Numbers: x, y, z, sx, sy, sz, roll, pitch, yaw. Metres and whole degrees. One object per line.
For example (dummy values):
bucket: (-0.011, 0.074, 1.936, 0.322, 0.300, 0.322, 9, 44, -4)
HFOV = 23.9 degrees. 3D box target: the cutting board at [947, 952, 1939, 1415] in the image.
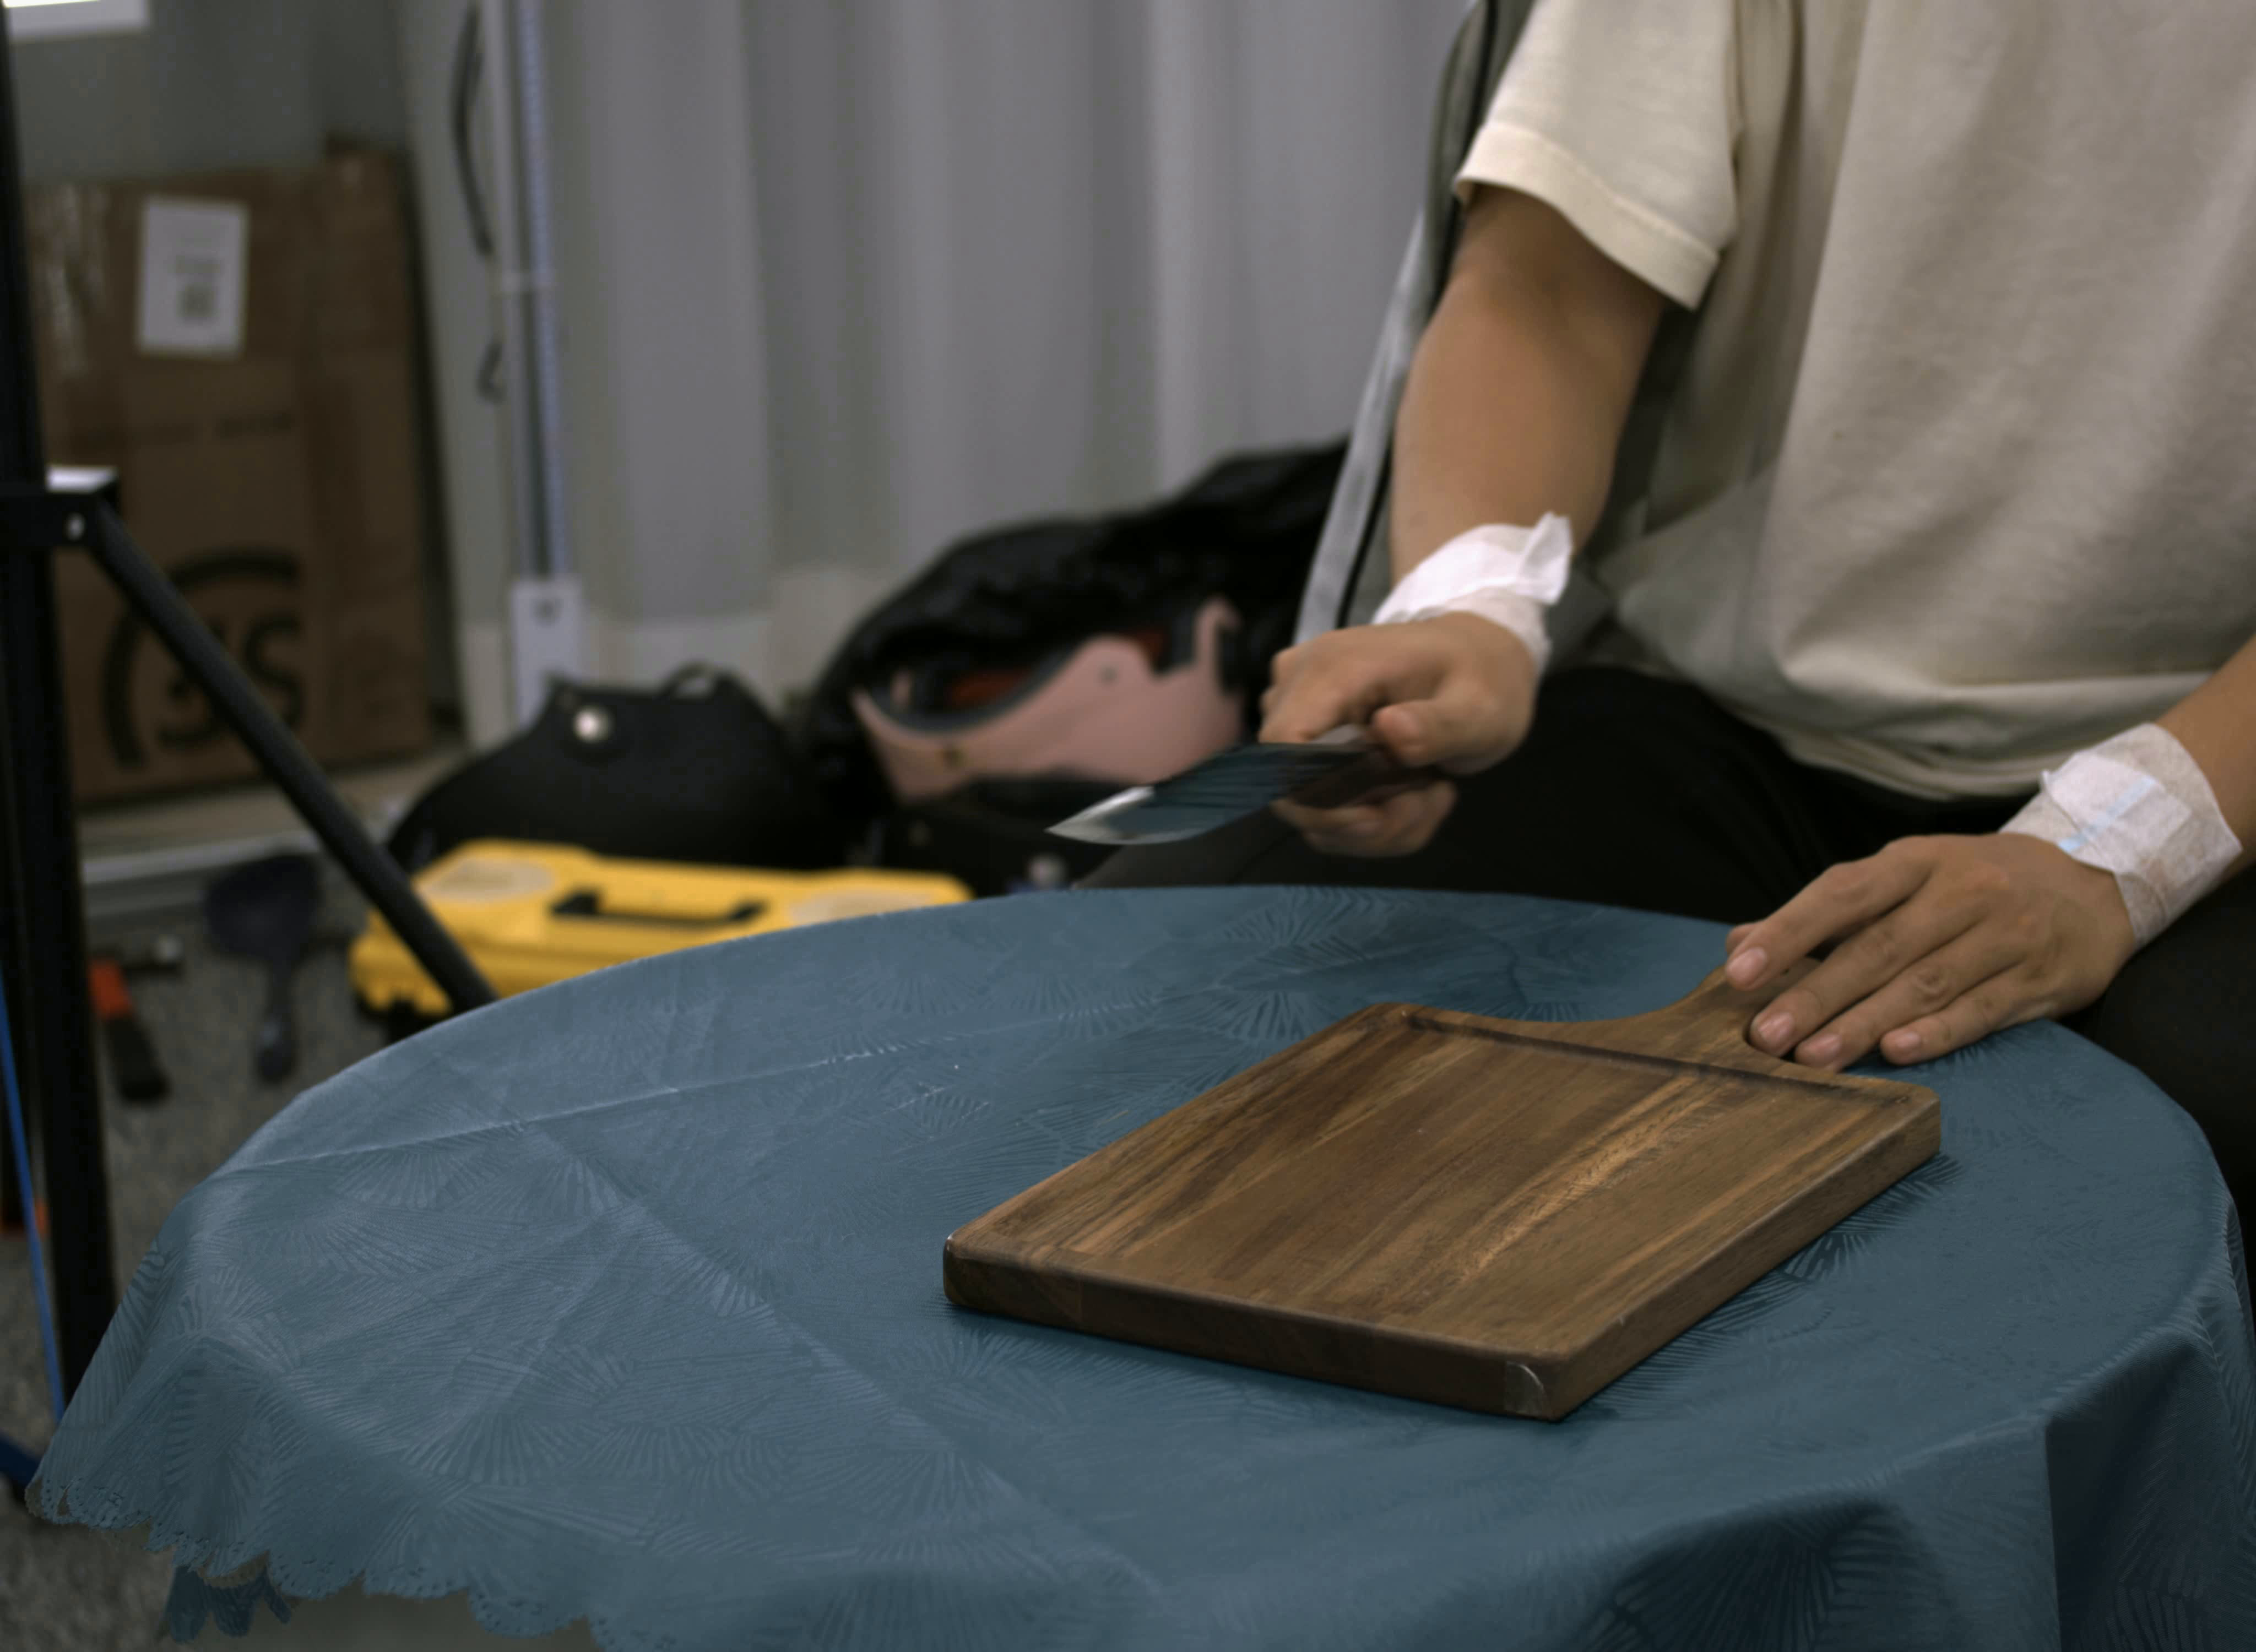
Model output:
cutting board: (0.121, 0.093, 1.552, 0.205, 0.023, 0.345, 8, 18, 32)

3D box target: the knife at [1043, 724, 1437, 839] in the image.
knife: (0.038, -0.010, 1.664, 0.068, 0.024, 0.295, -27, -7, 16)
